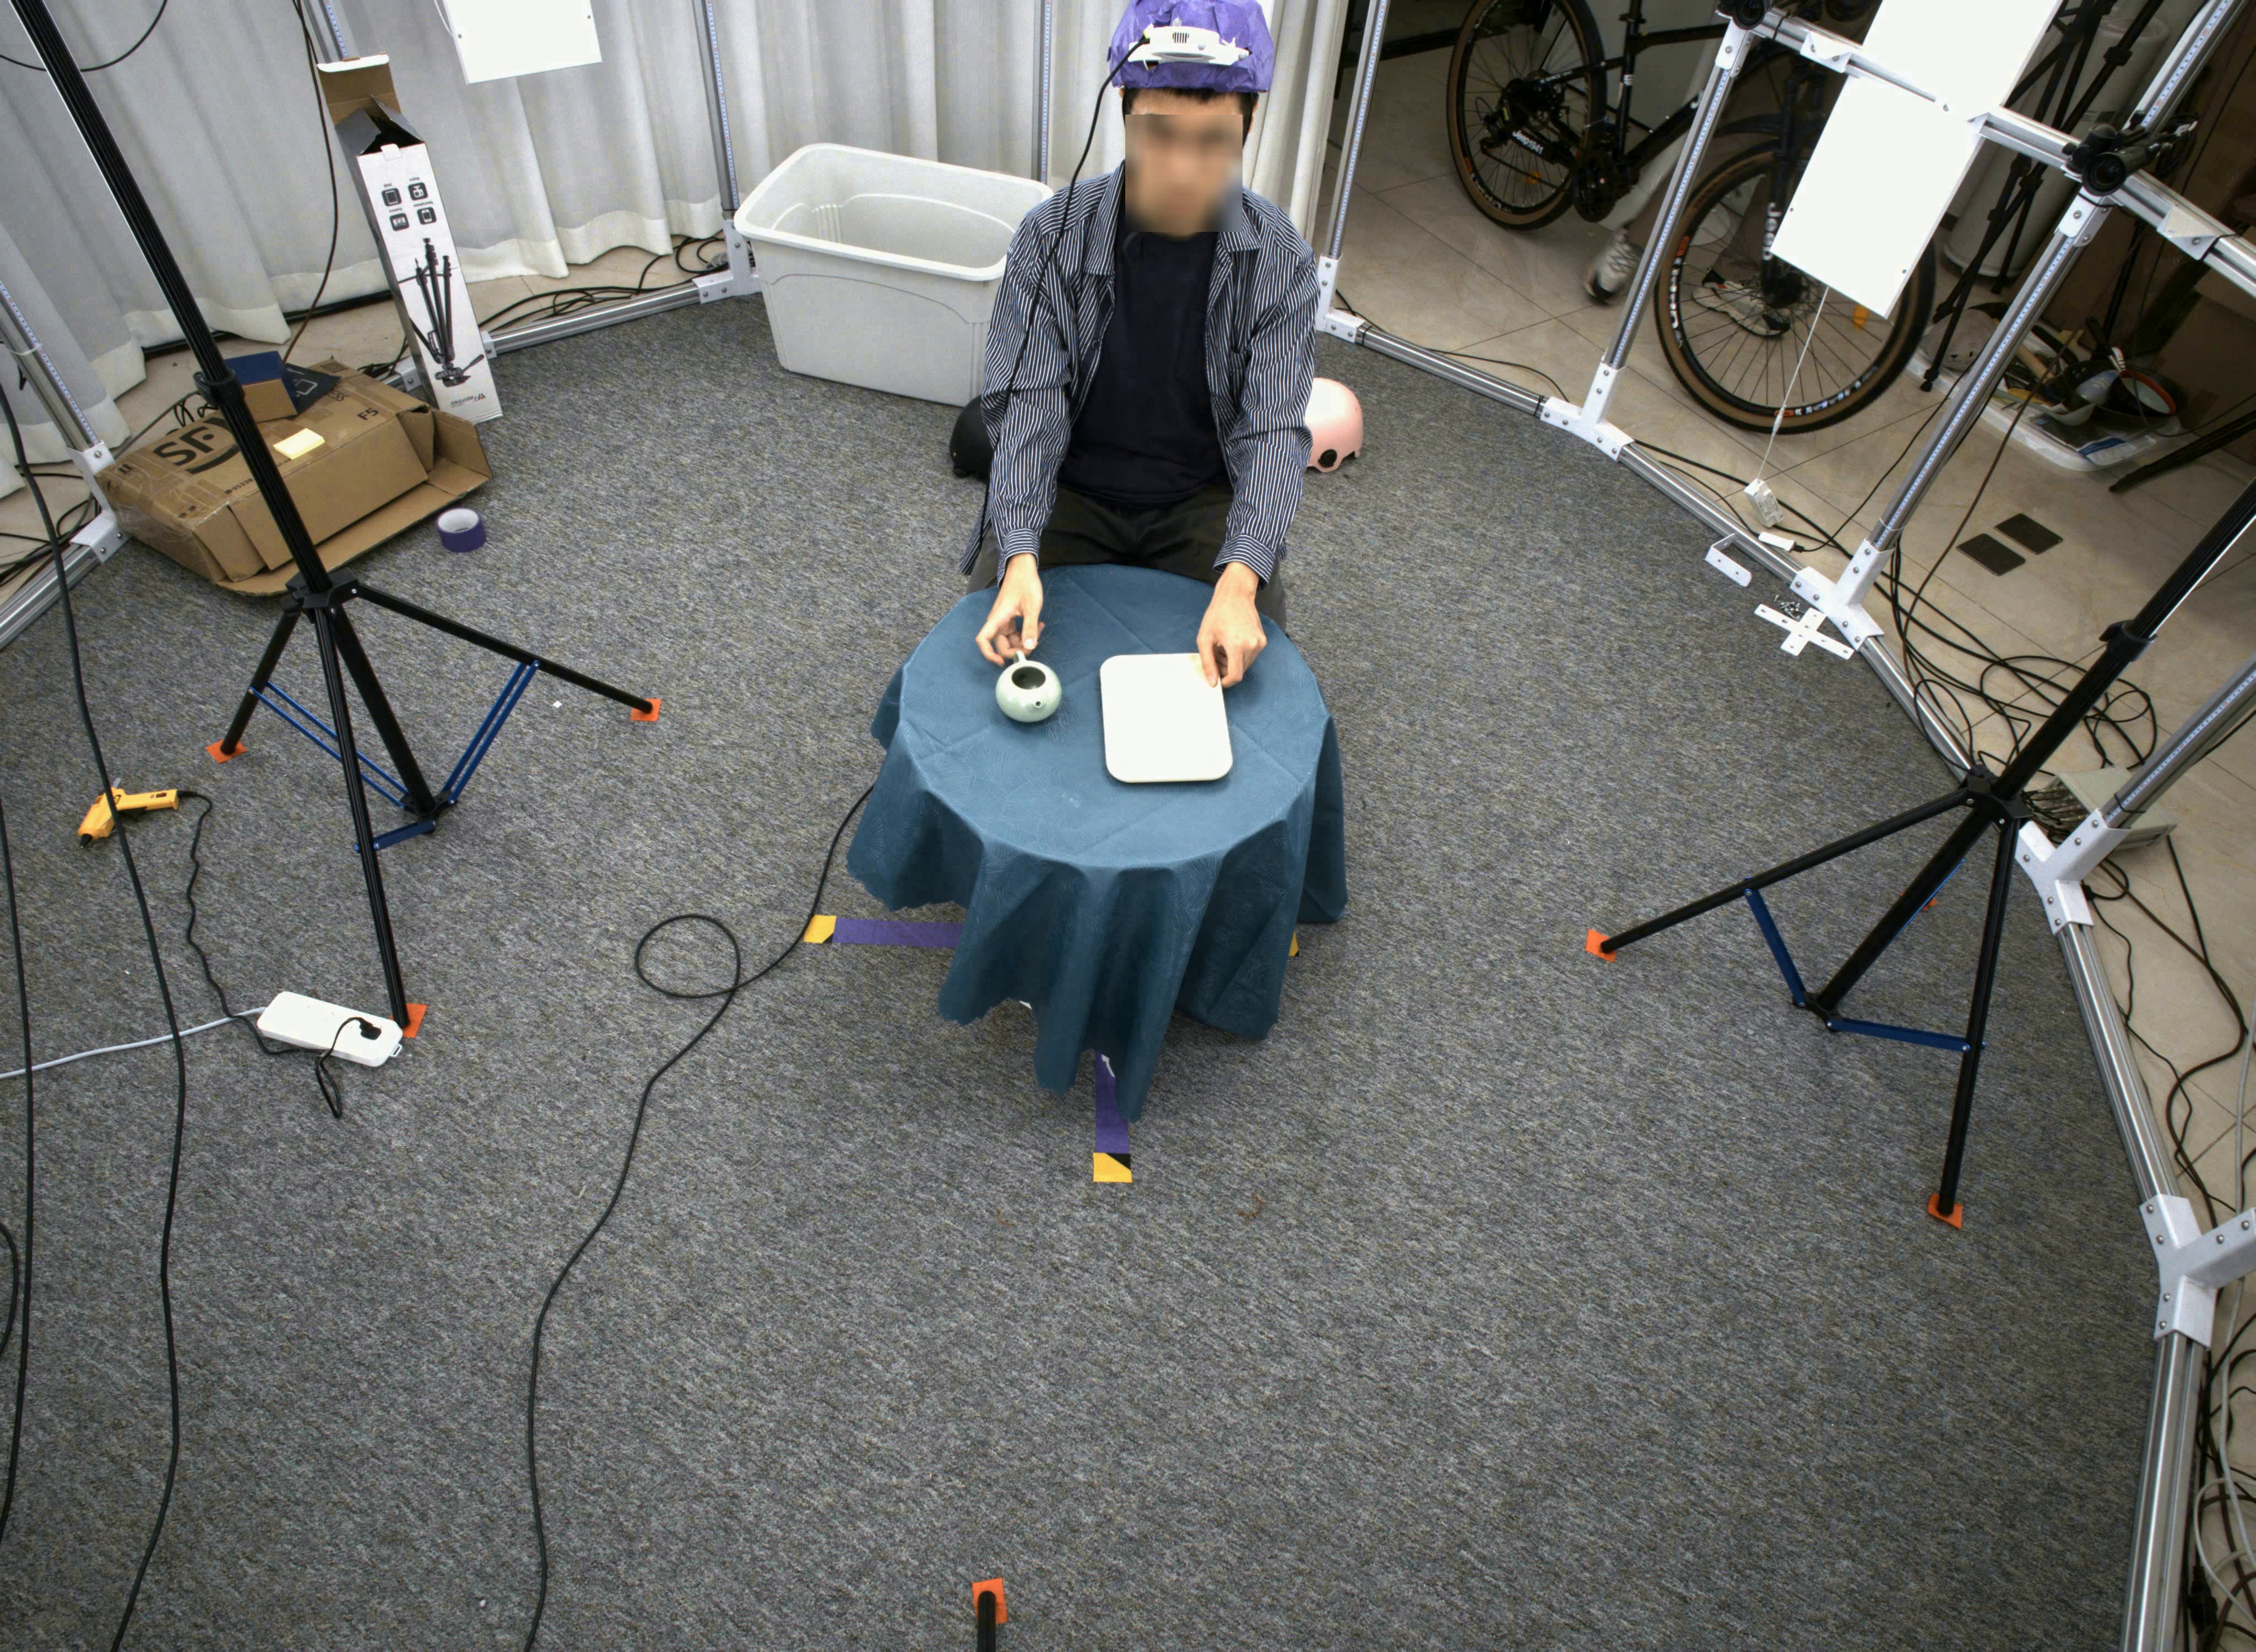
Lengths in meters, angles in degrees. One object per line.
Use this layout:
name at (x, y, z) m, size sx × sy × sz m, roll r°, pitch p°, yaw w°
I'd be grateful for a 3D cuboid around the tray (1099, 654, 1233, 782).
tray at (0.050, -0.151, 1.779) m, size 0.171 × 0.017 × 0.246 m, roll -2°, pitch 49°, yaw -4°

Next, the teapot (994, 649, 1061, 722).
teapot at (-0.140, -0.193, 1.776) m, size 0.091 × 0.059 × 0.132 m, roll -8°, pitch 50°, yaw -10°
